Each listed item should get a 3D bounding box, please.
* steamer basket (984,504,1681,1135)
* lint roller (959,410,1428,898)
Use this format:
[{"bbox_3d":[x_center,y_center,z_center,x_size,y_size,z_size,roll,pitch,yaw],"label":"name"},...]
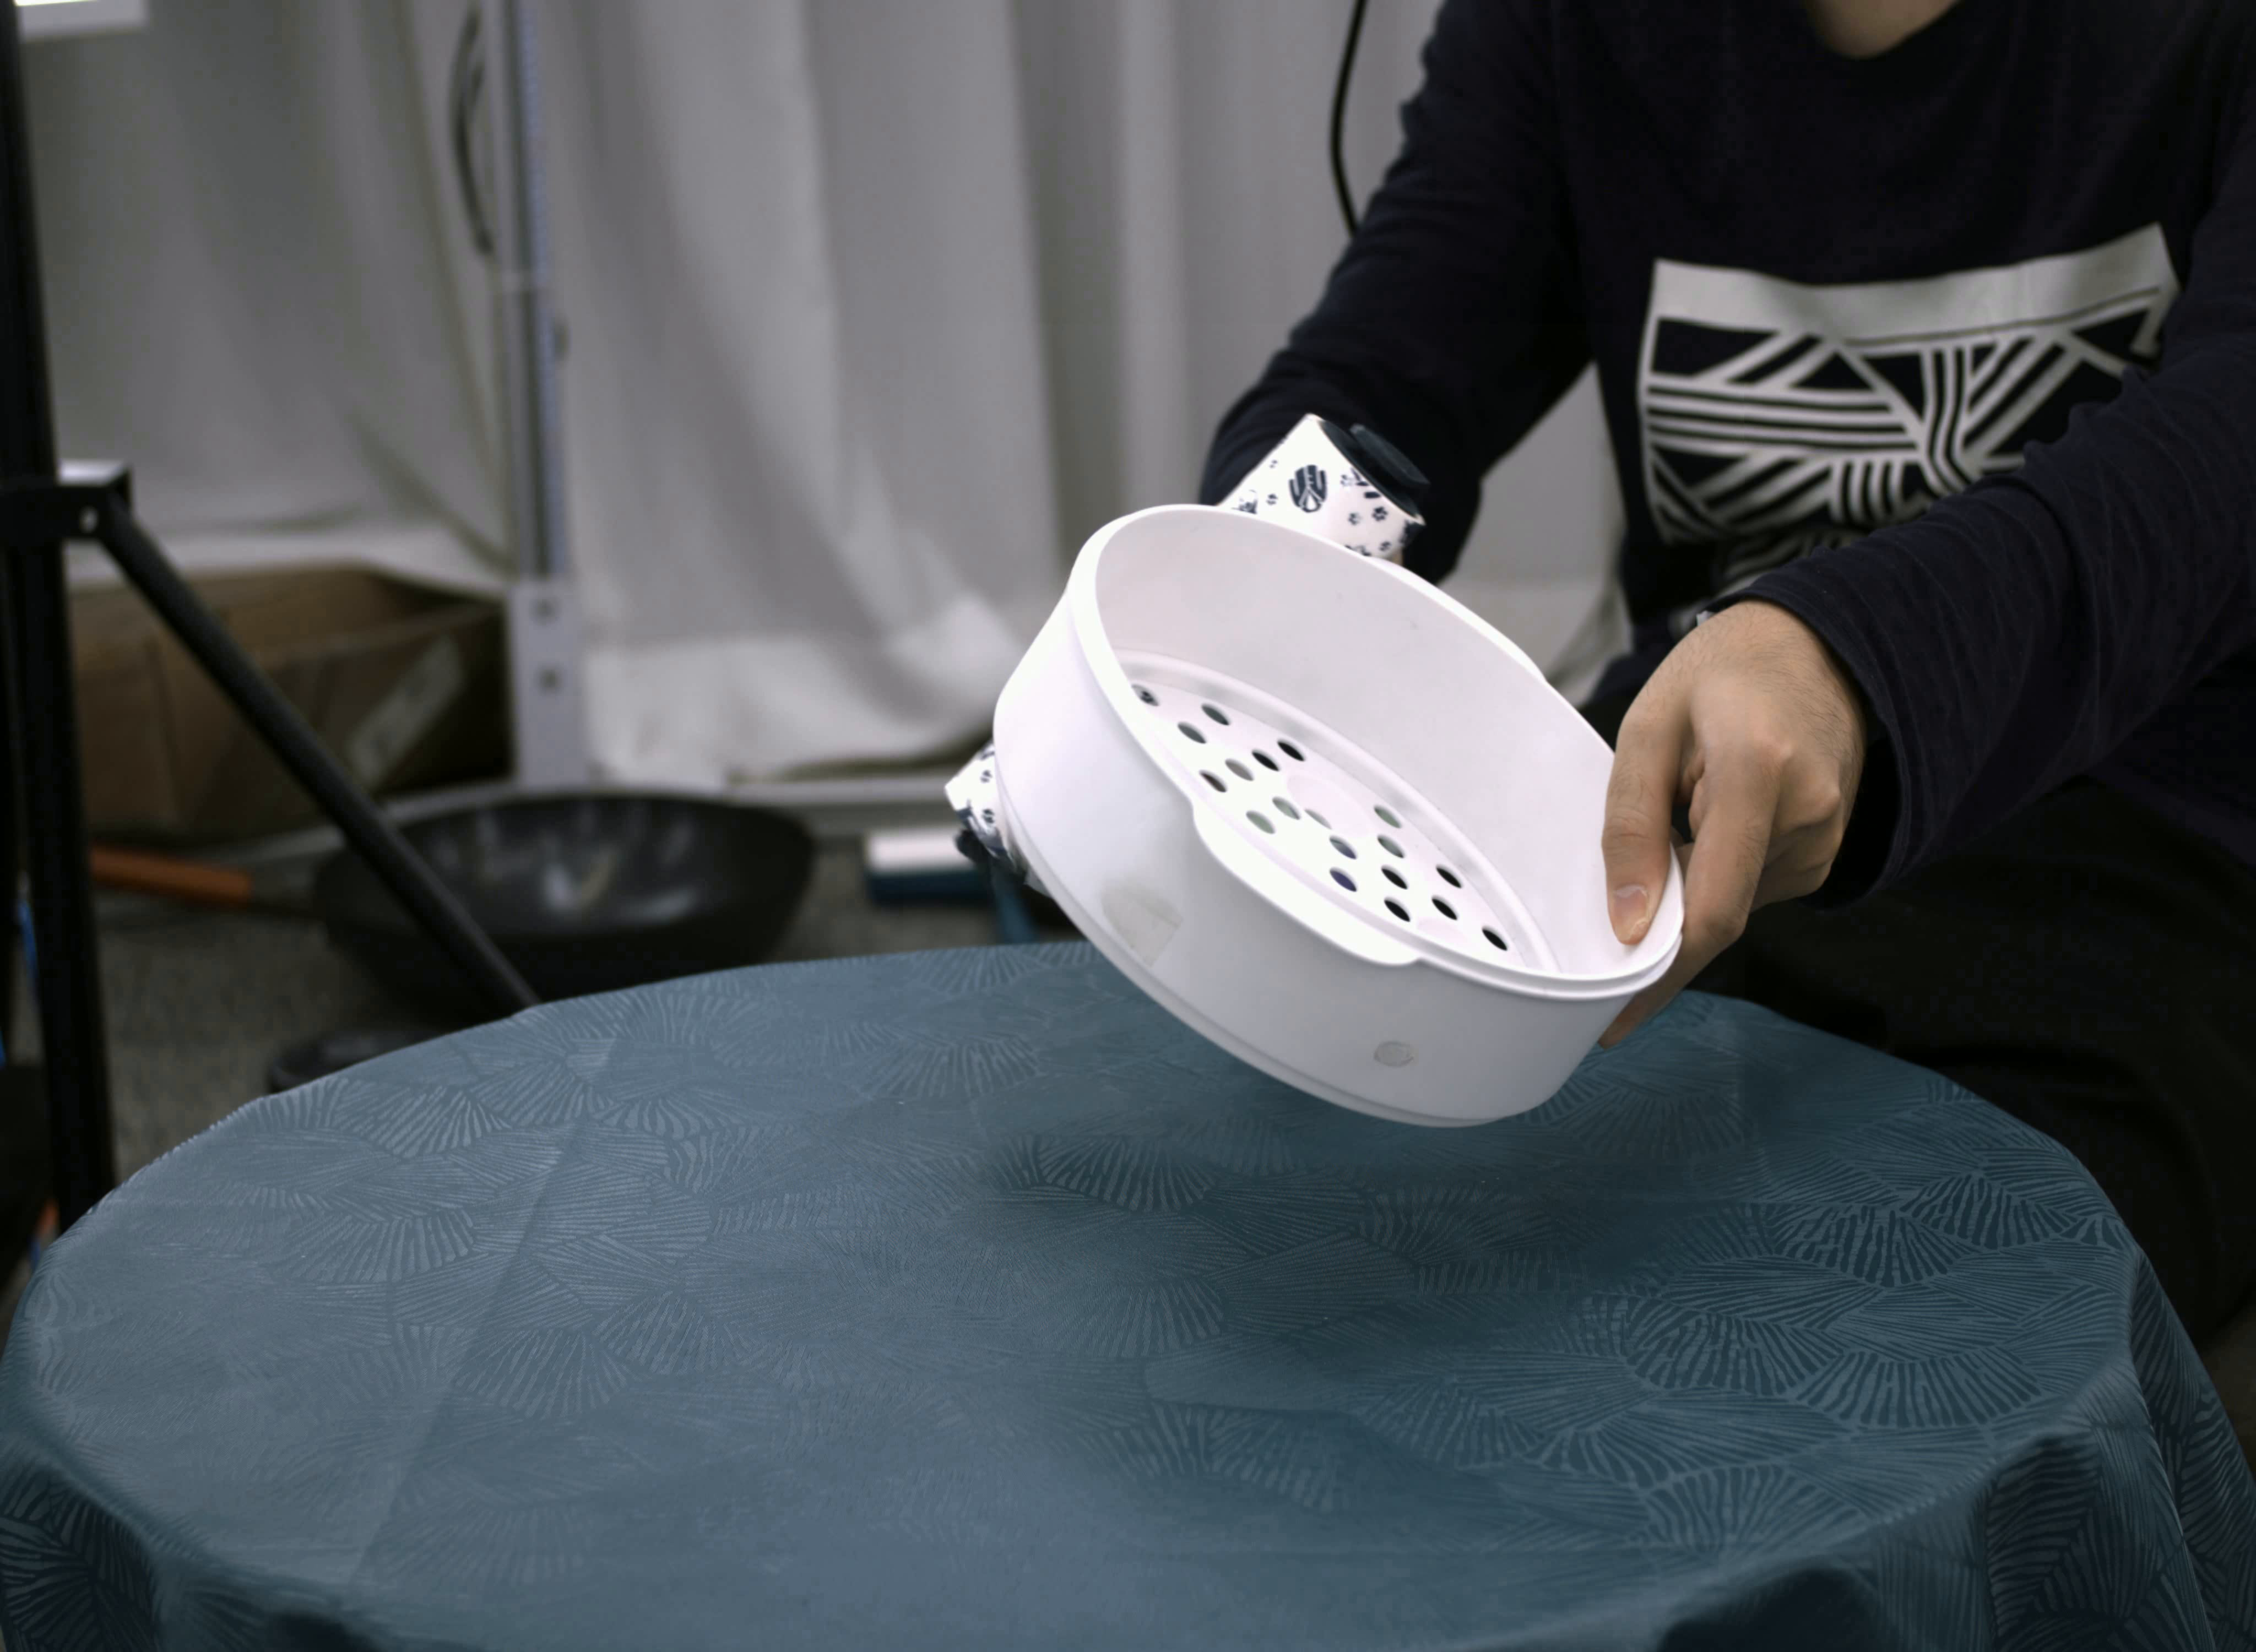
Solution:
[{"bbox_3d":[0.055,0.000,1.479,0.202,0.069,0.229,35,25,1],"label":"steamer basket"},{"bbox_3d":[0.037,-0.055,1.693,0.050,0.177,0.245,44,10,5],"label":"lint roller"}]
